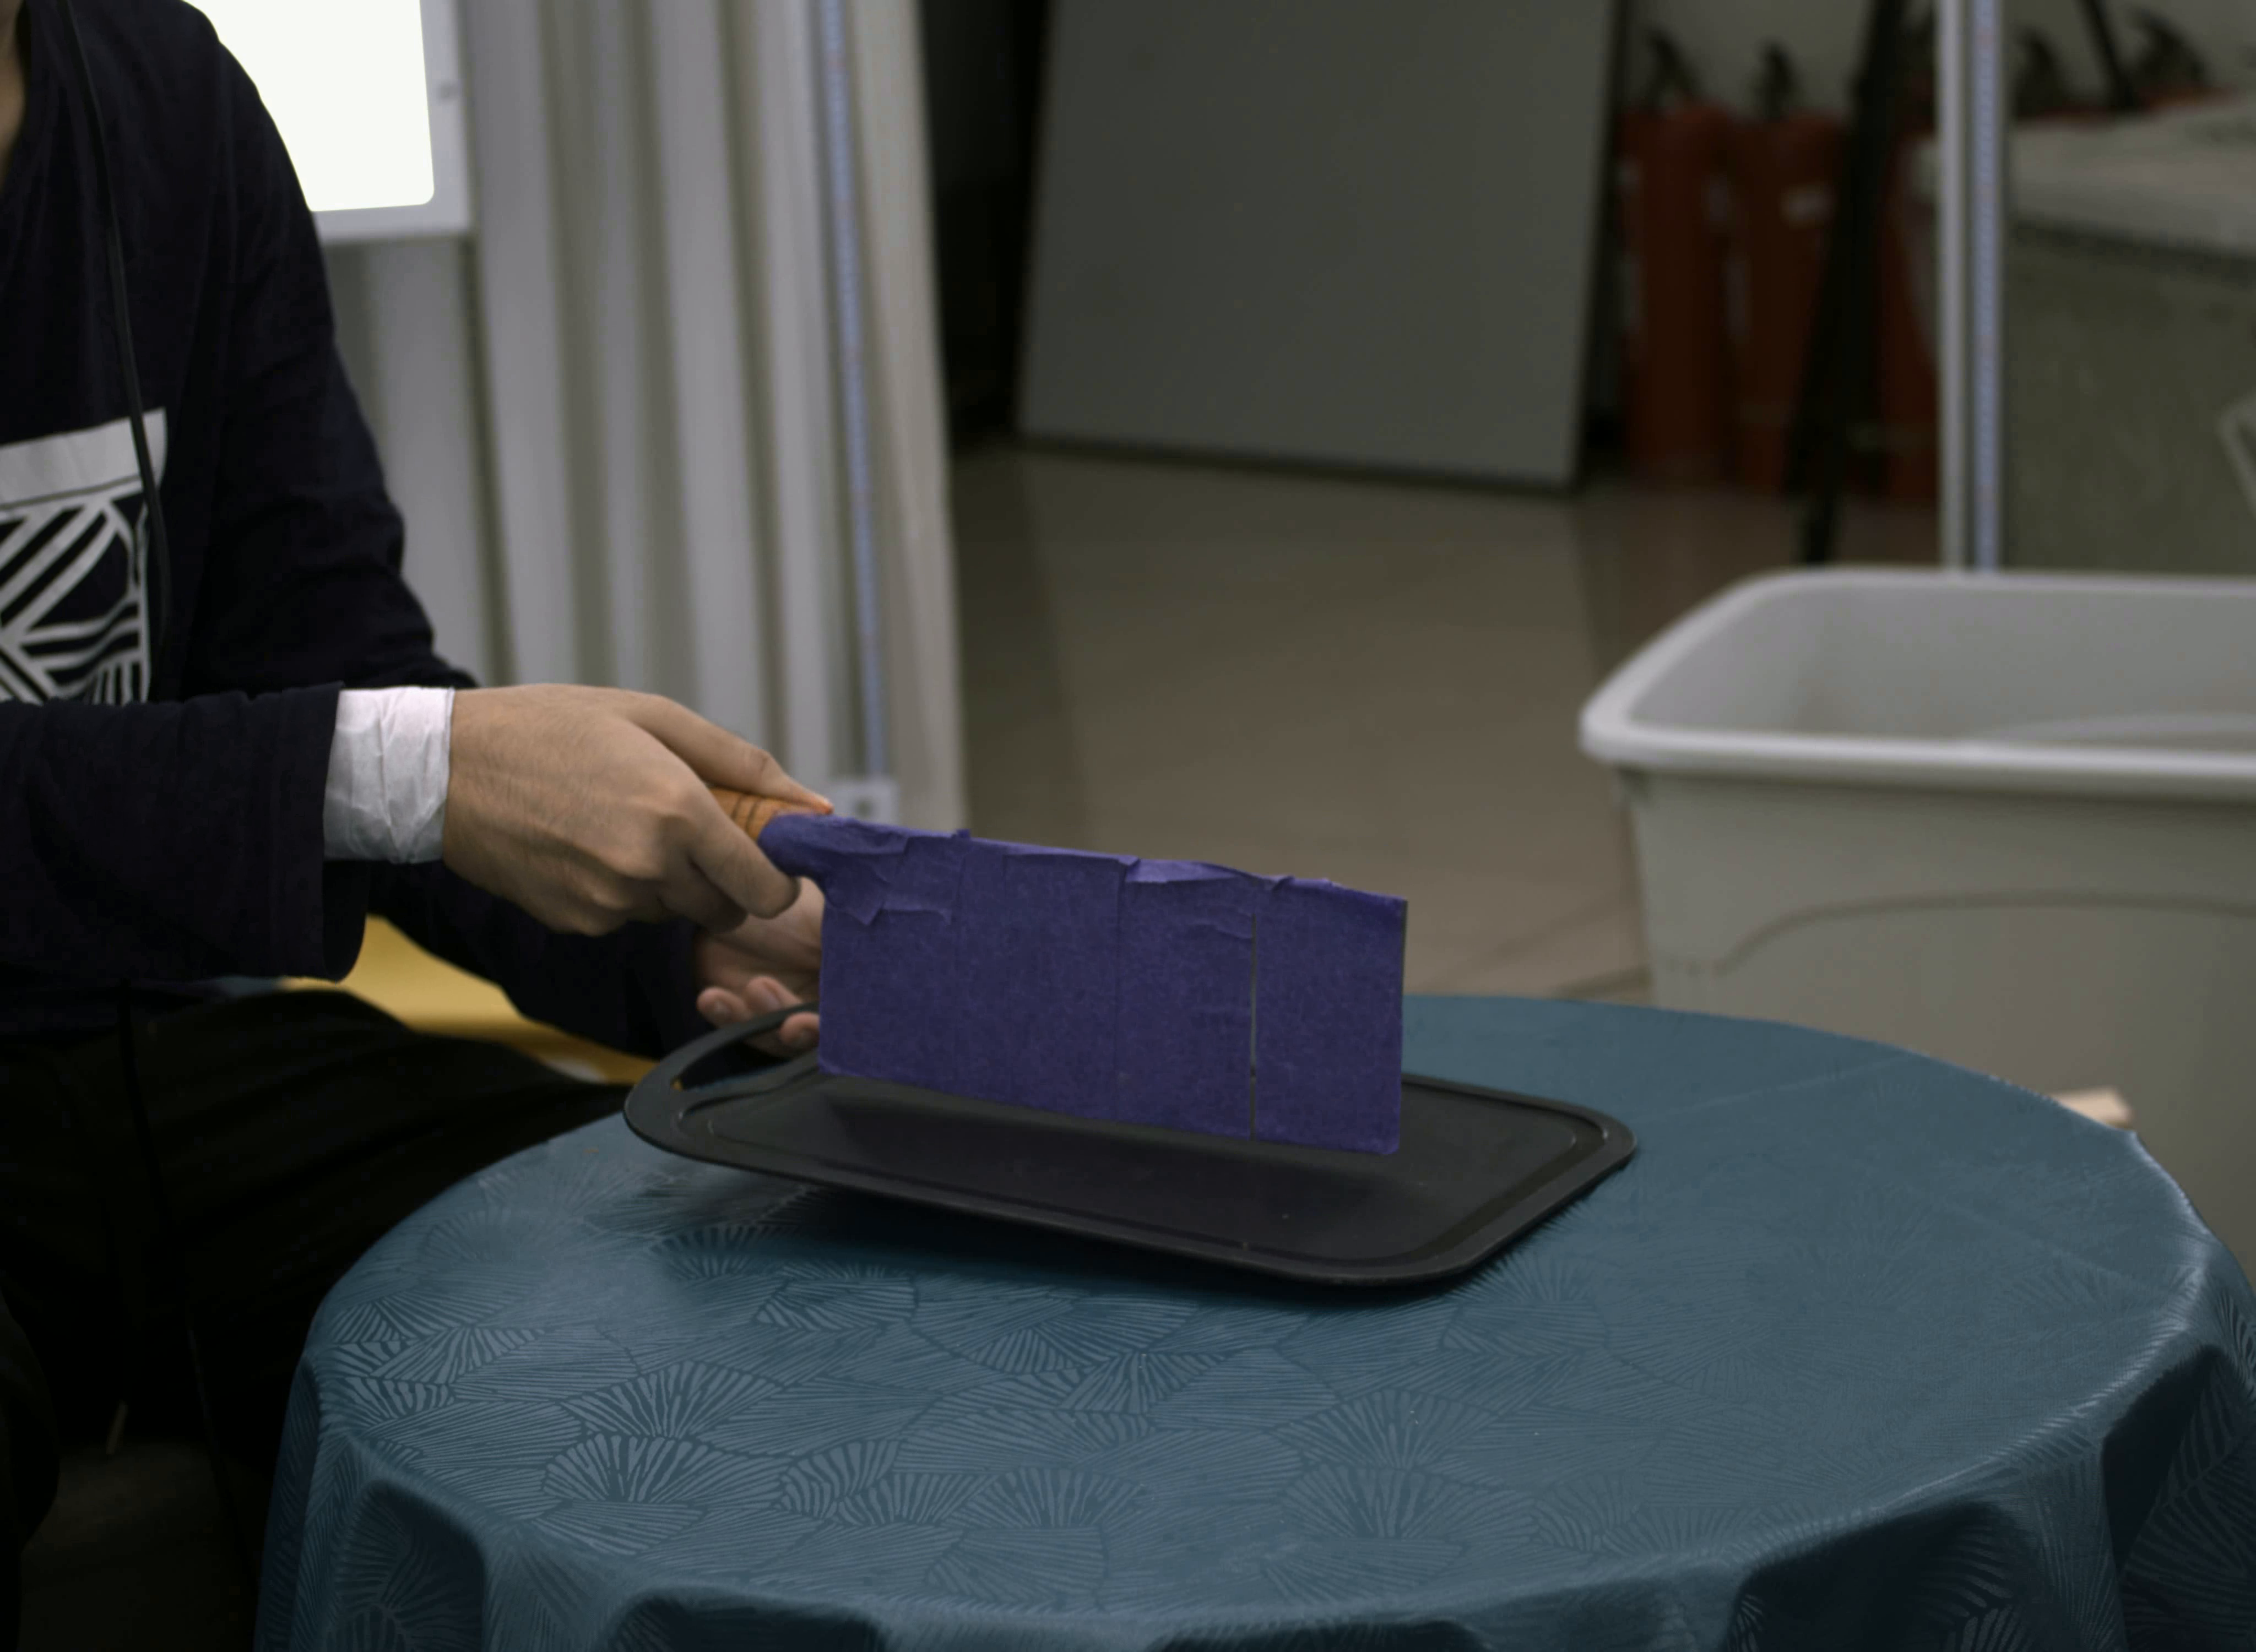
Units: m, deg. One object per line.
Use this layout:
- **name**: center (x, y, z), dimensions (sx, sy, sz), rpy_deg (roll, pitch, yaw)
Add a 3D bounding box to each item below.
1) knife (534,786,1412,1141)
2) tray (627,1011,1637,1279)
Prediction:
- **knife**: center (-0.055, 0.046, 1.785), dimensions (0.315, 0.105, 0.032), rpy_deg (7, 12, 24)
- **tray**: center (-0.005, 0.099, 1.788), dimensions (0.326, 0.010, 0.208), rpy_deg (9, 16, 28)
